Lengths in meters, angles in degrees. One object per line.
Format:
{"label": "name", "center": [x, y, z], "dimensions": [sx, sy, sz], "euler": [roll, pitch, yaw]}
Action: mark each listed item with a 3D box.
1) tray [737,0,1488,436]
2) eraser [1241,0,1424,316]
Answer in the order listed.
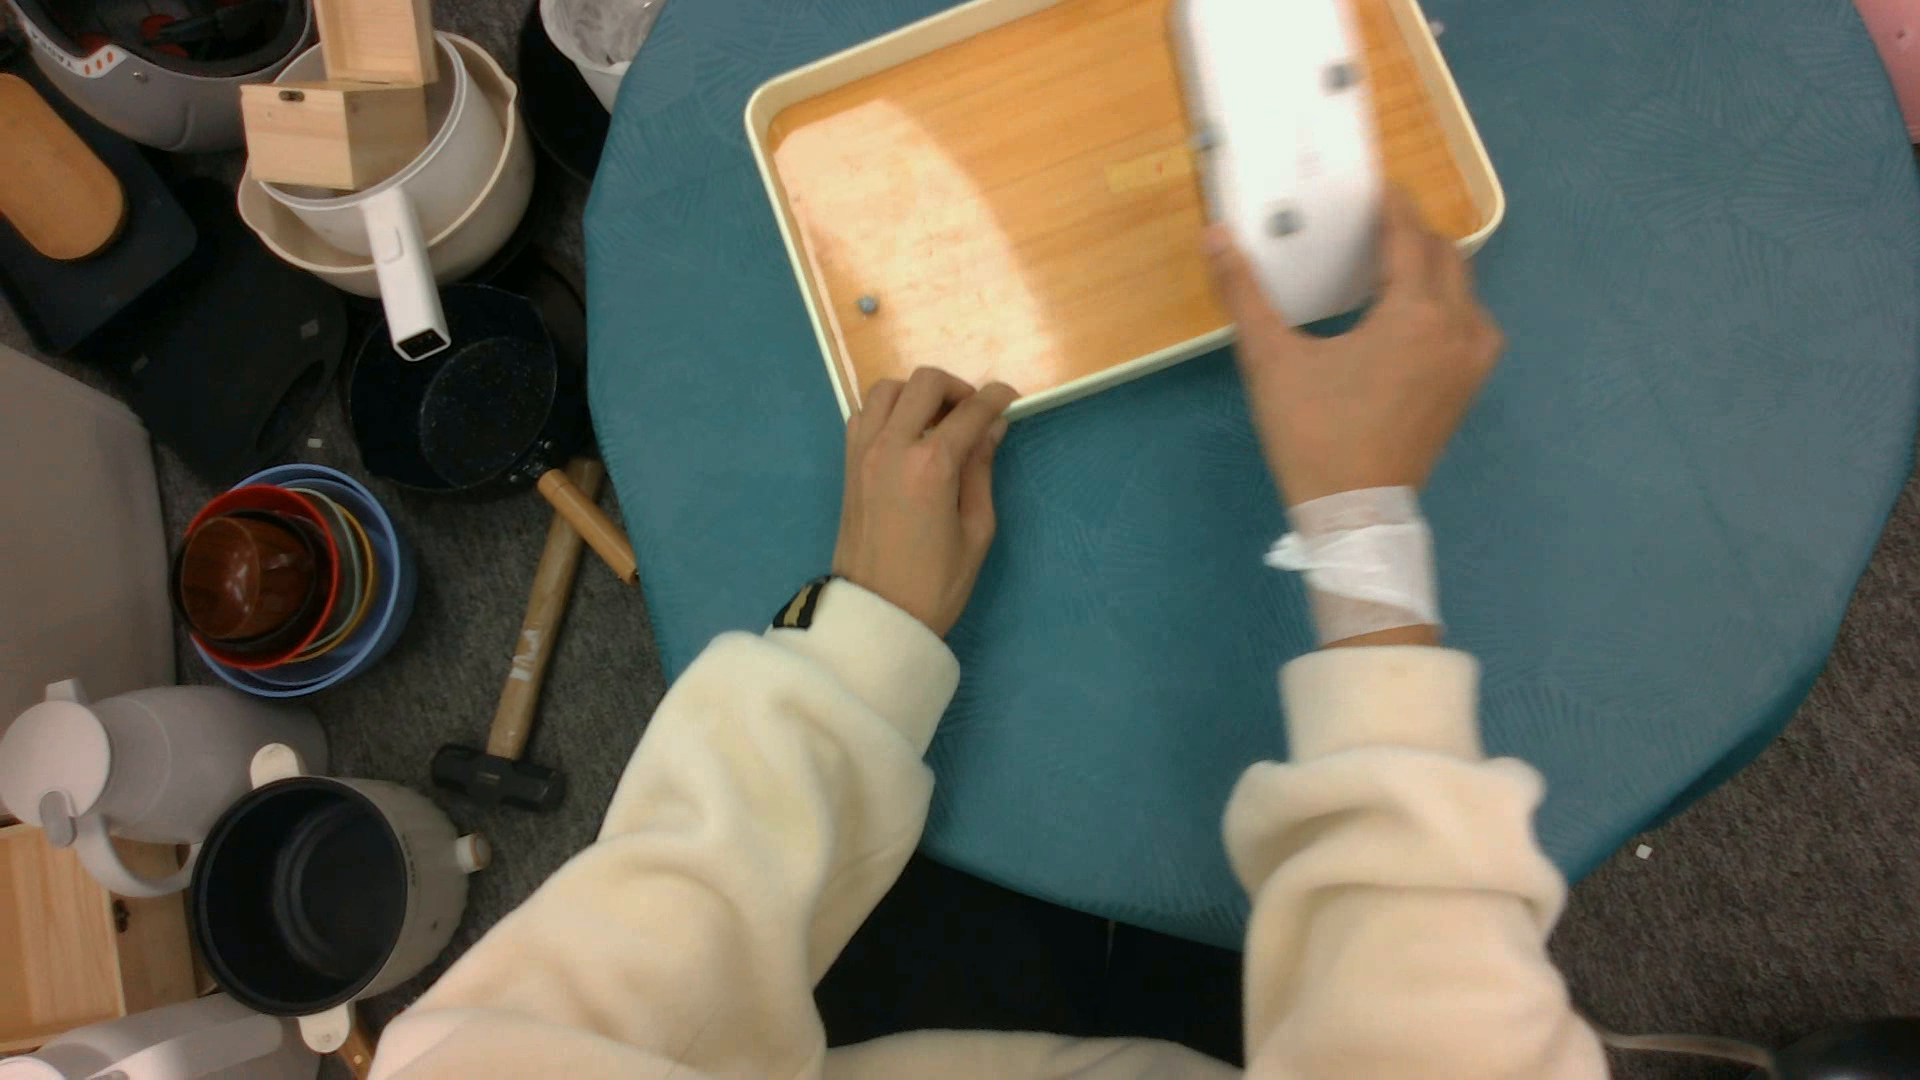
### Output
{"label": "tray", "center": [0.063, -0.179, 0.625], "dimensions": [0.300, 0.027, 0.192], "euler": [-18, 78, 3]}
{"label": "eraser", "center": [0.140, -0.152, 0.520], "dimensions": [0.063, 0.034, 0.131], "euler": [-13, 109, -15]}
